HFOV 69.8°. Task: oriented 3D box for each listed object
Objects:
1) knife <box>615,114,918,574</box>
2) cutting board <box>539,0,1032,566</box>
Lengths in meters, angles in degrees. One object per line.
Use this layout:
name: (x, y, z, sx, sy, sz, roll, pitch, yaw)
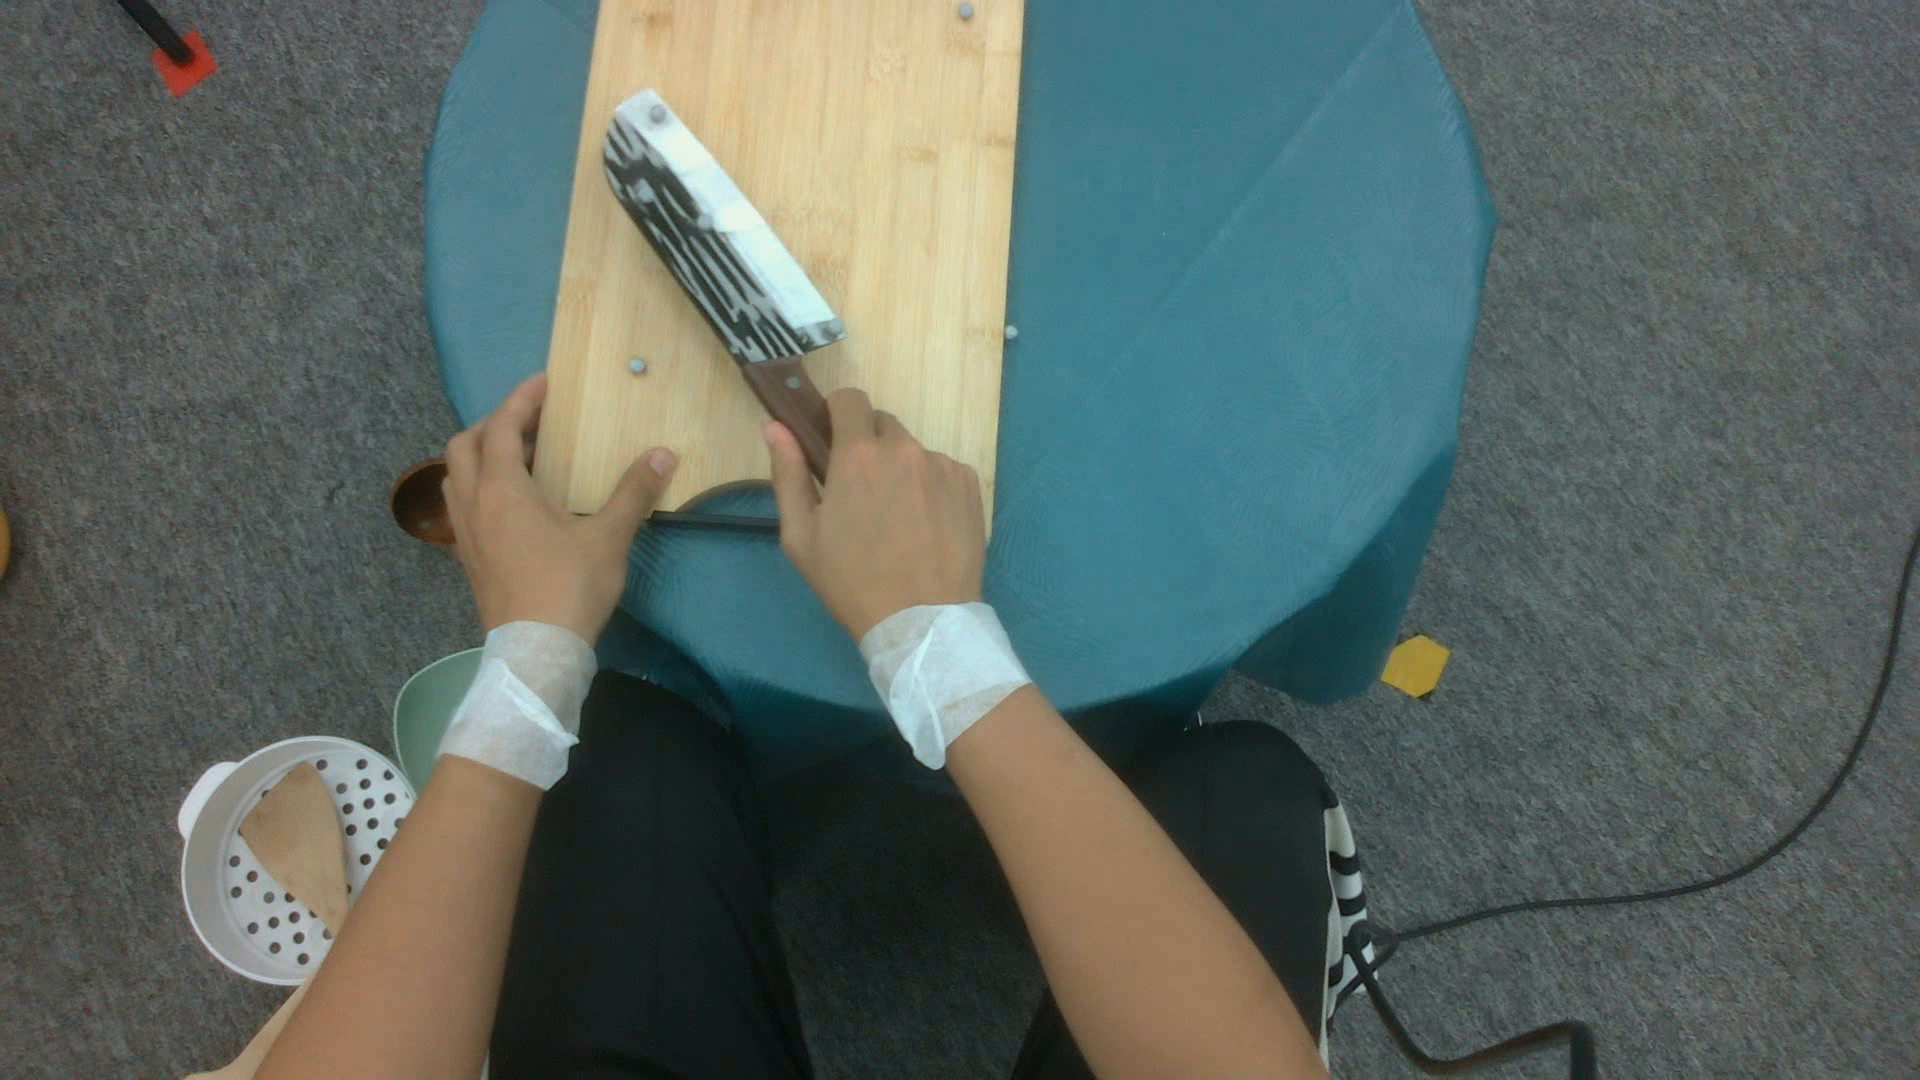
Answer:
knife: (-0.097, -0.111, 0.710, 0.068, 0.024, 0.300, -26, 72, -36)
cutting board: (-0.090, -0.161, 0.778, 0.251, 0.023, 0.349, 3, 75, -1)
